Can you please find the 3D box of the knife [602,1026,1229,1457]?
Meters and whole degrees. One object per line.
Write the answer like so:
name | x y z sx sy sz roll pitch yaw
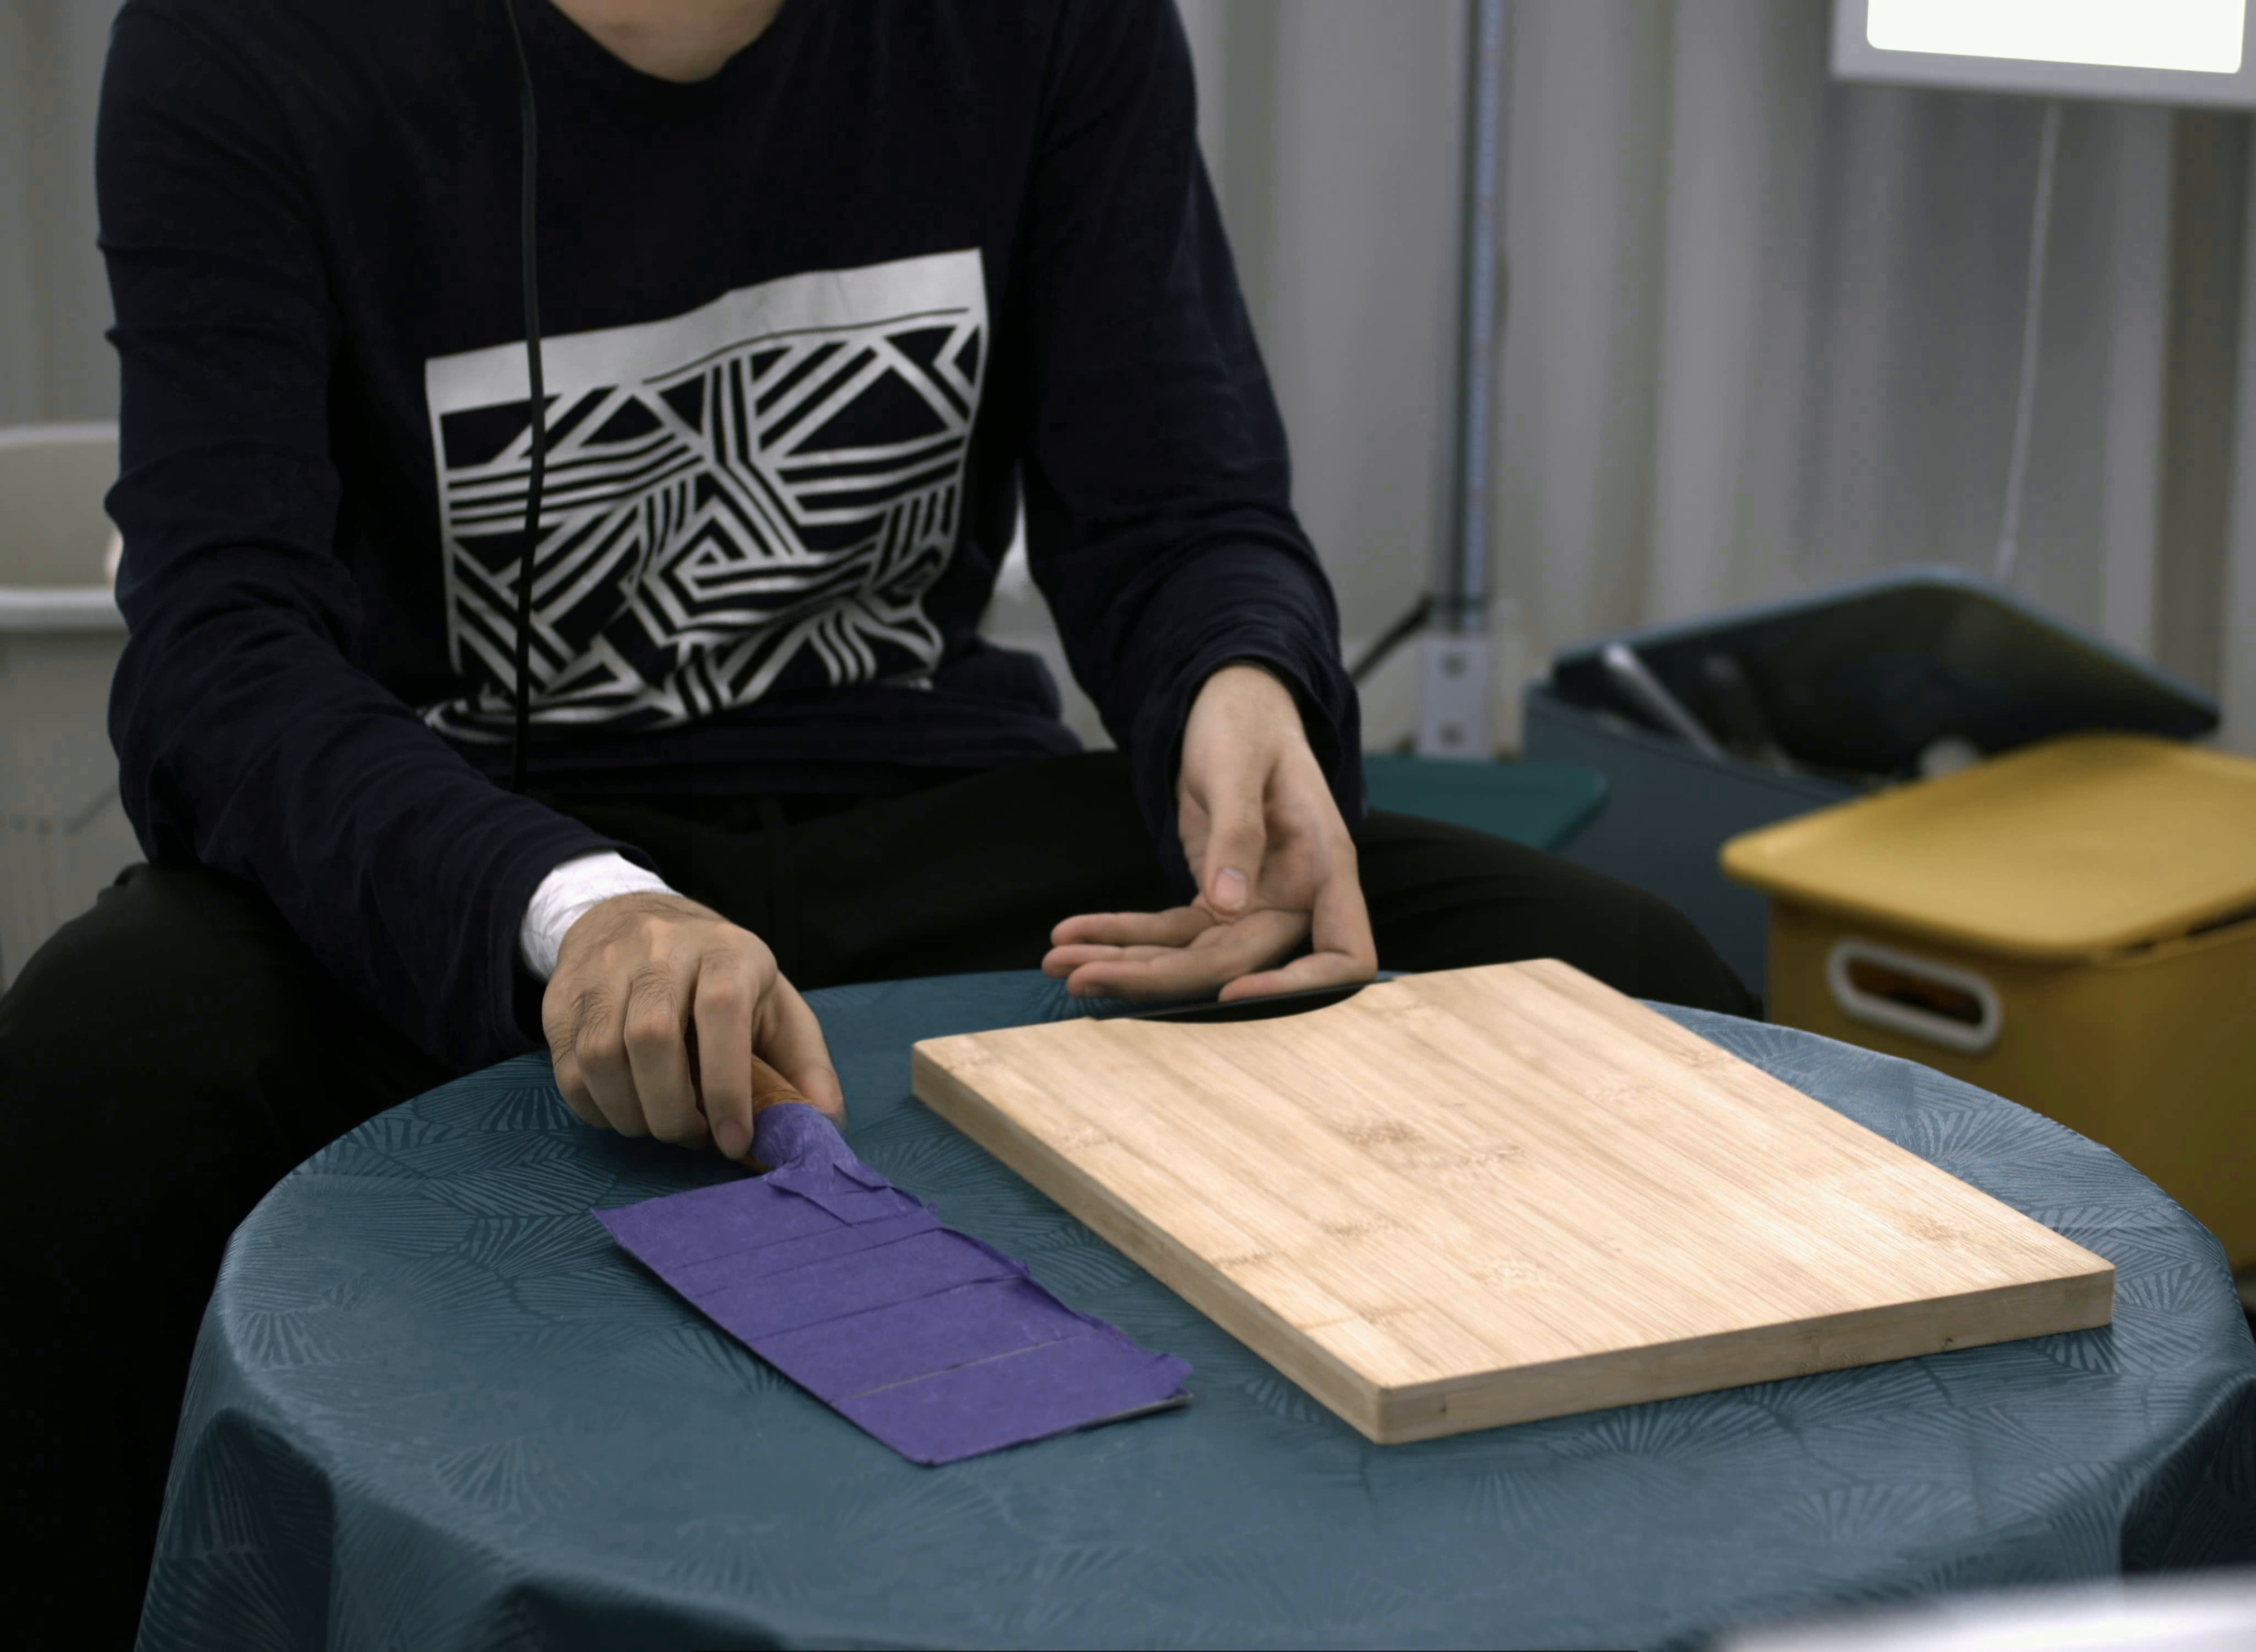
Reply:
knife | -0.095 0.118 1.549 0.104 0.032 0.311 -9 18 -31

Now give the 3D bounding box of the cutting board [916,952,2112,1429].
cutting board | 0.107 0.105 1.623 0.251 0.024 0.344 -6 17 -24
